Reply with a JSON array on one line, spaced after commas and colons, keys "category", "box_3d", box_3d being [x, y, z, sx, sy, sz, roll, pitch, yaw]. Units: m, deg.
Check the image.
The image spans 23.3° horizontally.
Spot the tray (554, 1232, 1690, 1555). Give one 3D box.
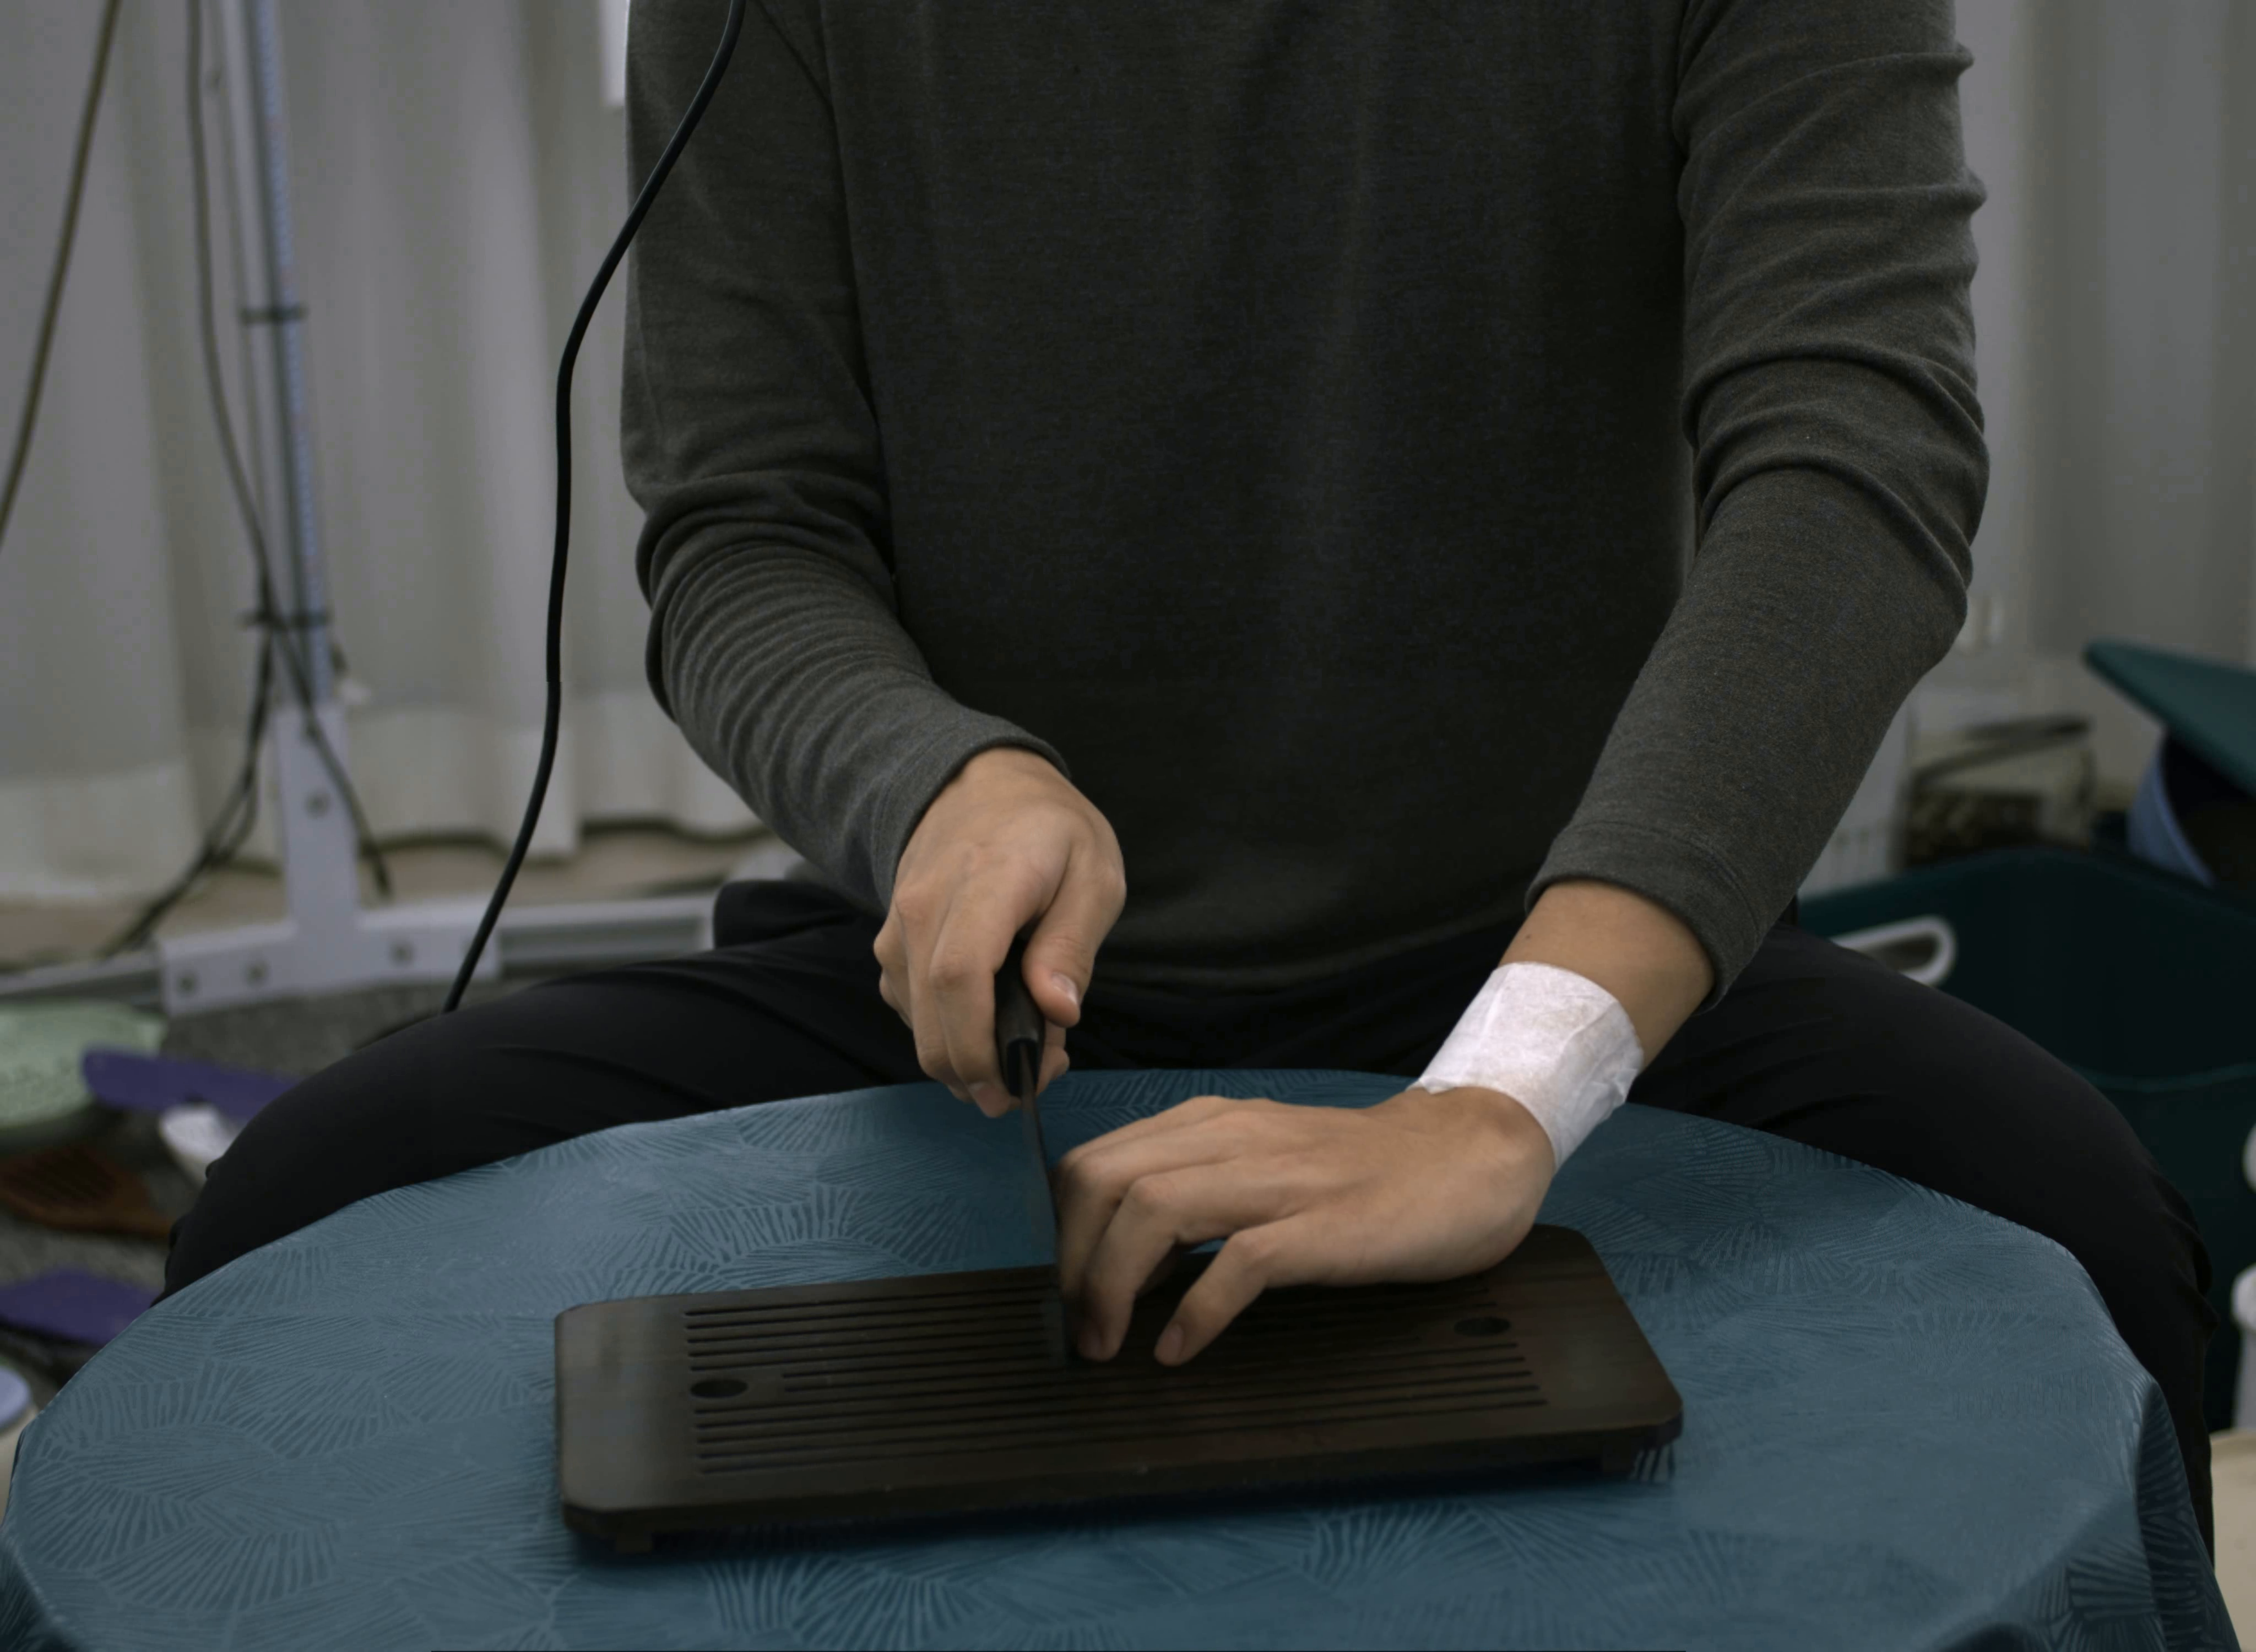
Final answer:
[{"category": "tray", "box_3d": [-0.007, 0.157, 1.523, 0.305, 0.018, 0.171, -4, 14, -5]}]

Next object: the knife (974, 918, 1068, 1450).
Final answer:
[{"category": "knife", "box_3d": [-0.028, 0.094, 1.576, 0.021, 0.080, 0.305, -2, 20, -4]}]
